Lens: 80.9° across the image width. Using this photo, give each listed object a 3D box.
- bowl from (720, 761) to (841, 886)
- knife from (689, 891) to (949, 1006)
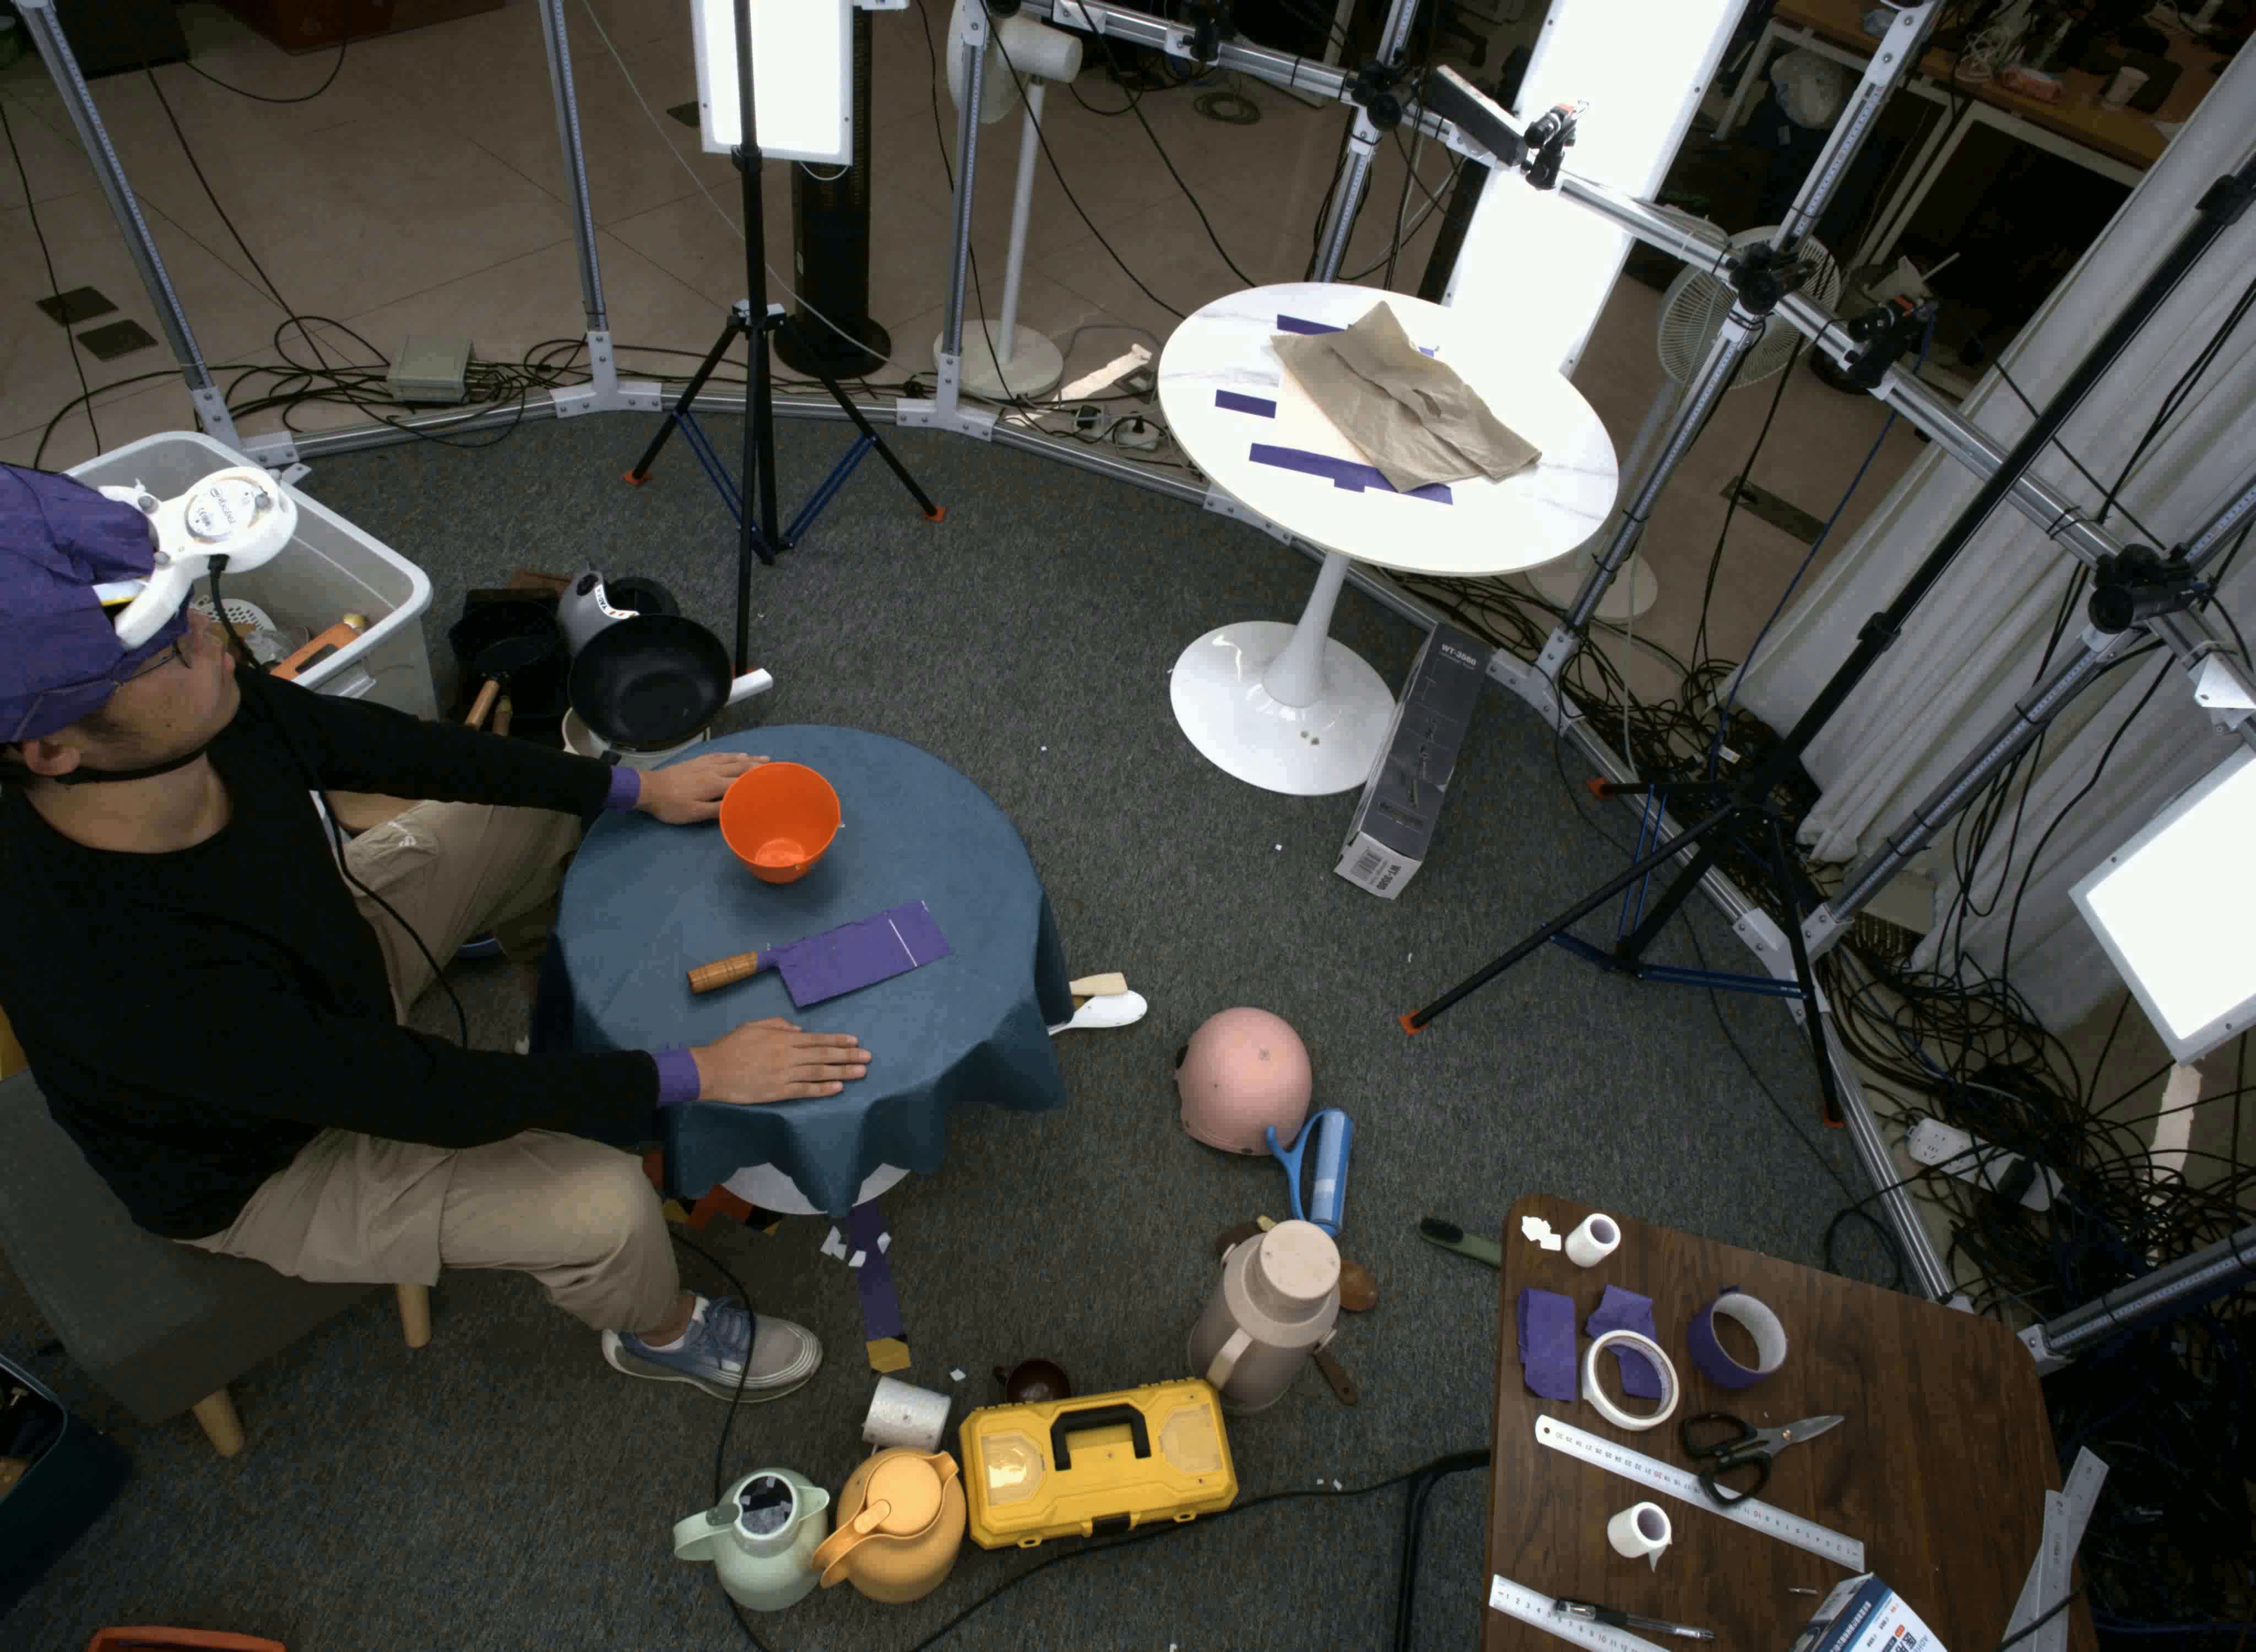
[{"bbox_3d":[-0.441,0.008,1.645,0.148,0.106,0.145,9,53,-10],"label":"bowl"},{"bbox_3d":[-0.373,0.165,1.594,0.317,0.033,0.101,-21,61,-28],"label":"knife"}]
